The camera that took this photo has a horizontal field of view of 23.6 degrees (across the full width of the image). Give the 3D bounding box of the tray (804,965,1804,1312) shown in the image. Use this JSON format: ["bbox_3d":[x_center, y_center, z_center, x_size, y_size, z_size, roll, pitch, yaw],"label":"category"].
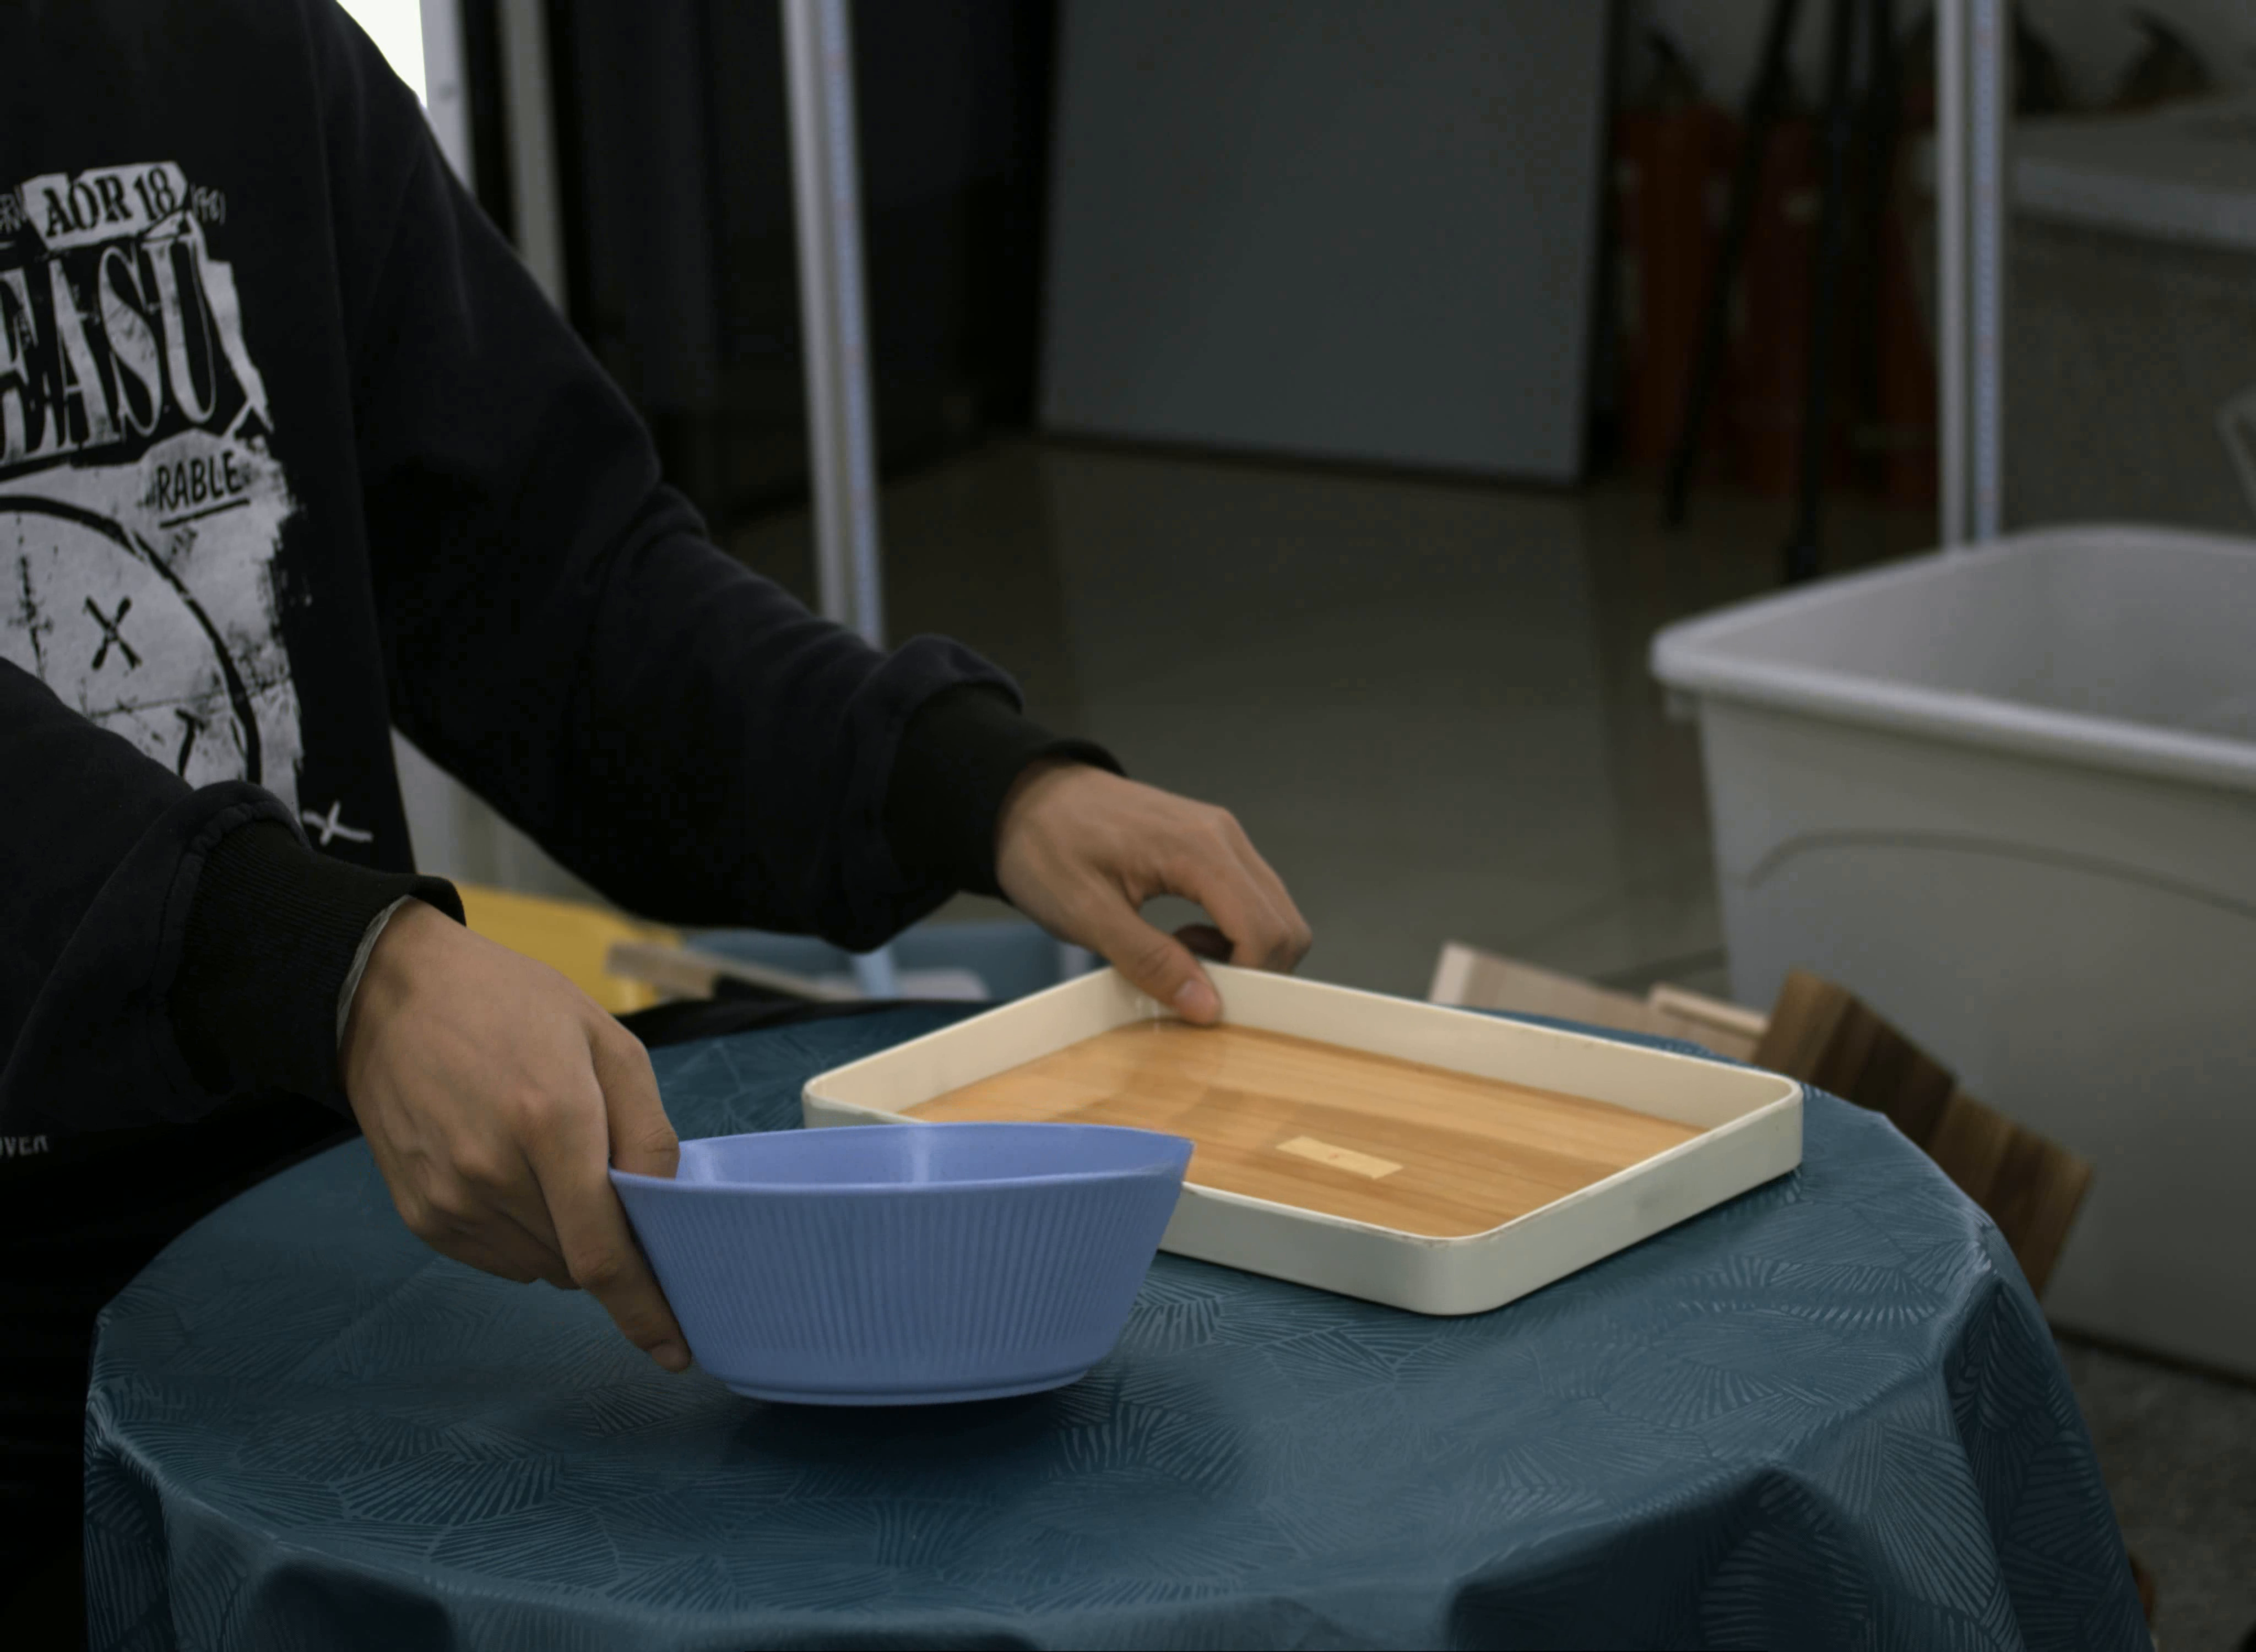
[{"bbox_3d":[0.056,0.100,1.782,0.303,0.028,0.188,9,19,43],"label":"tray"}]

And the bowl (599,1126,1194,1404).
[{"bbox_3d":[-0.067,0.127,1.575,0.174,0.071,0.176,-1,2,-1],"label":"bowl"}]
